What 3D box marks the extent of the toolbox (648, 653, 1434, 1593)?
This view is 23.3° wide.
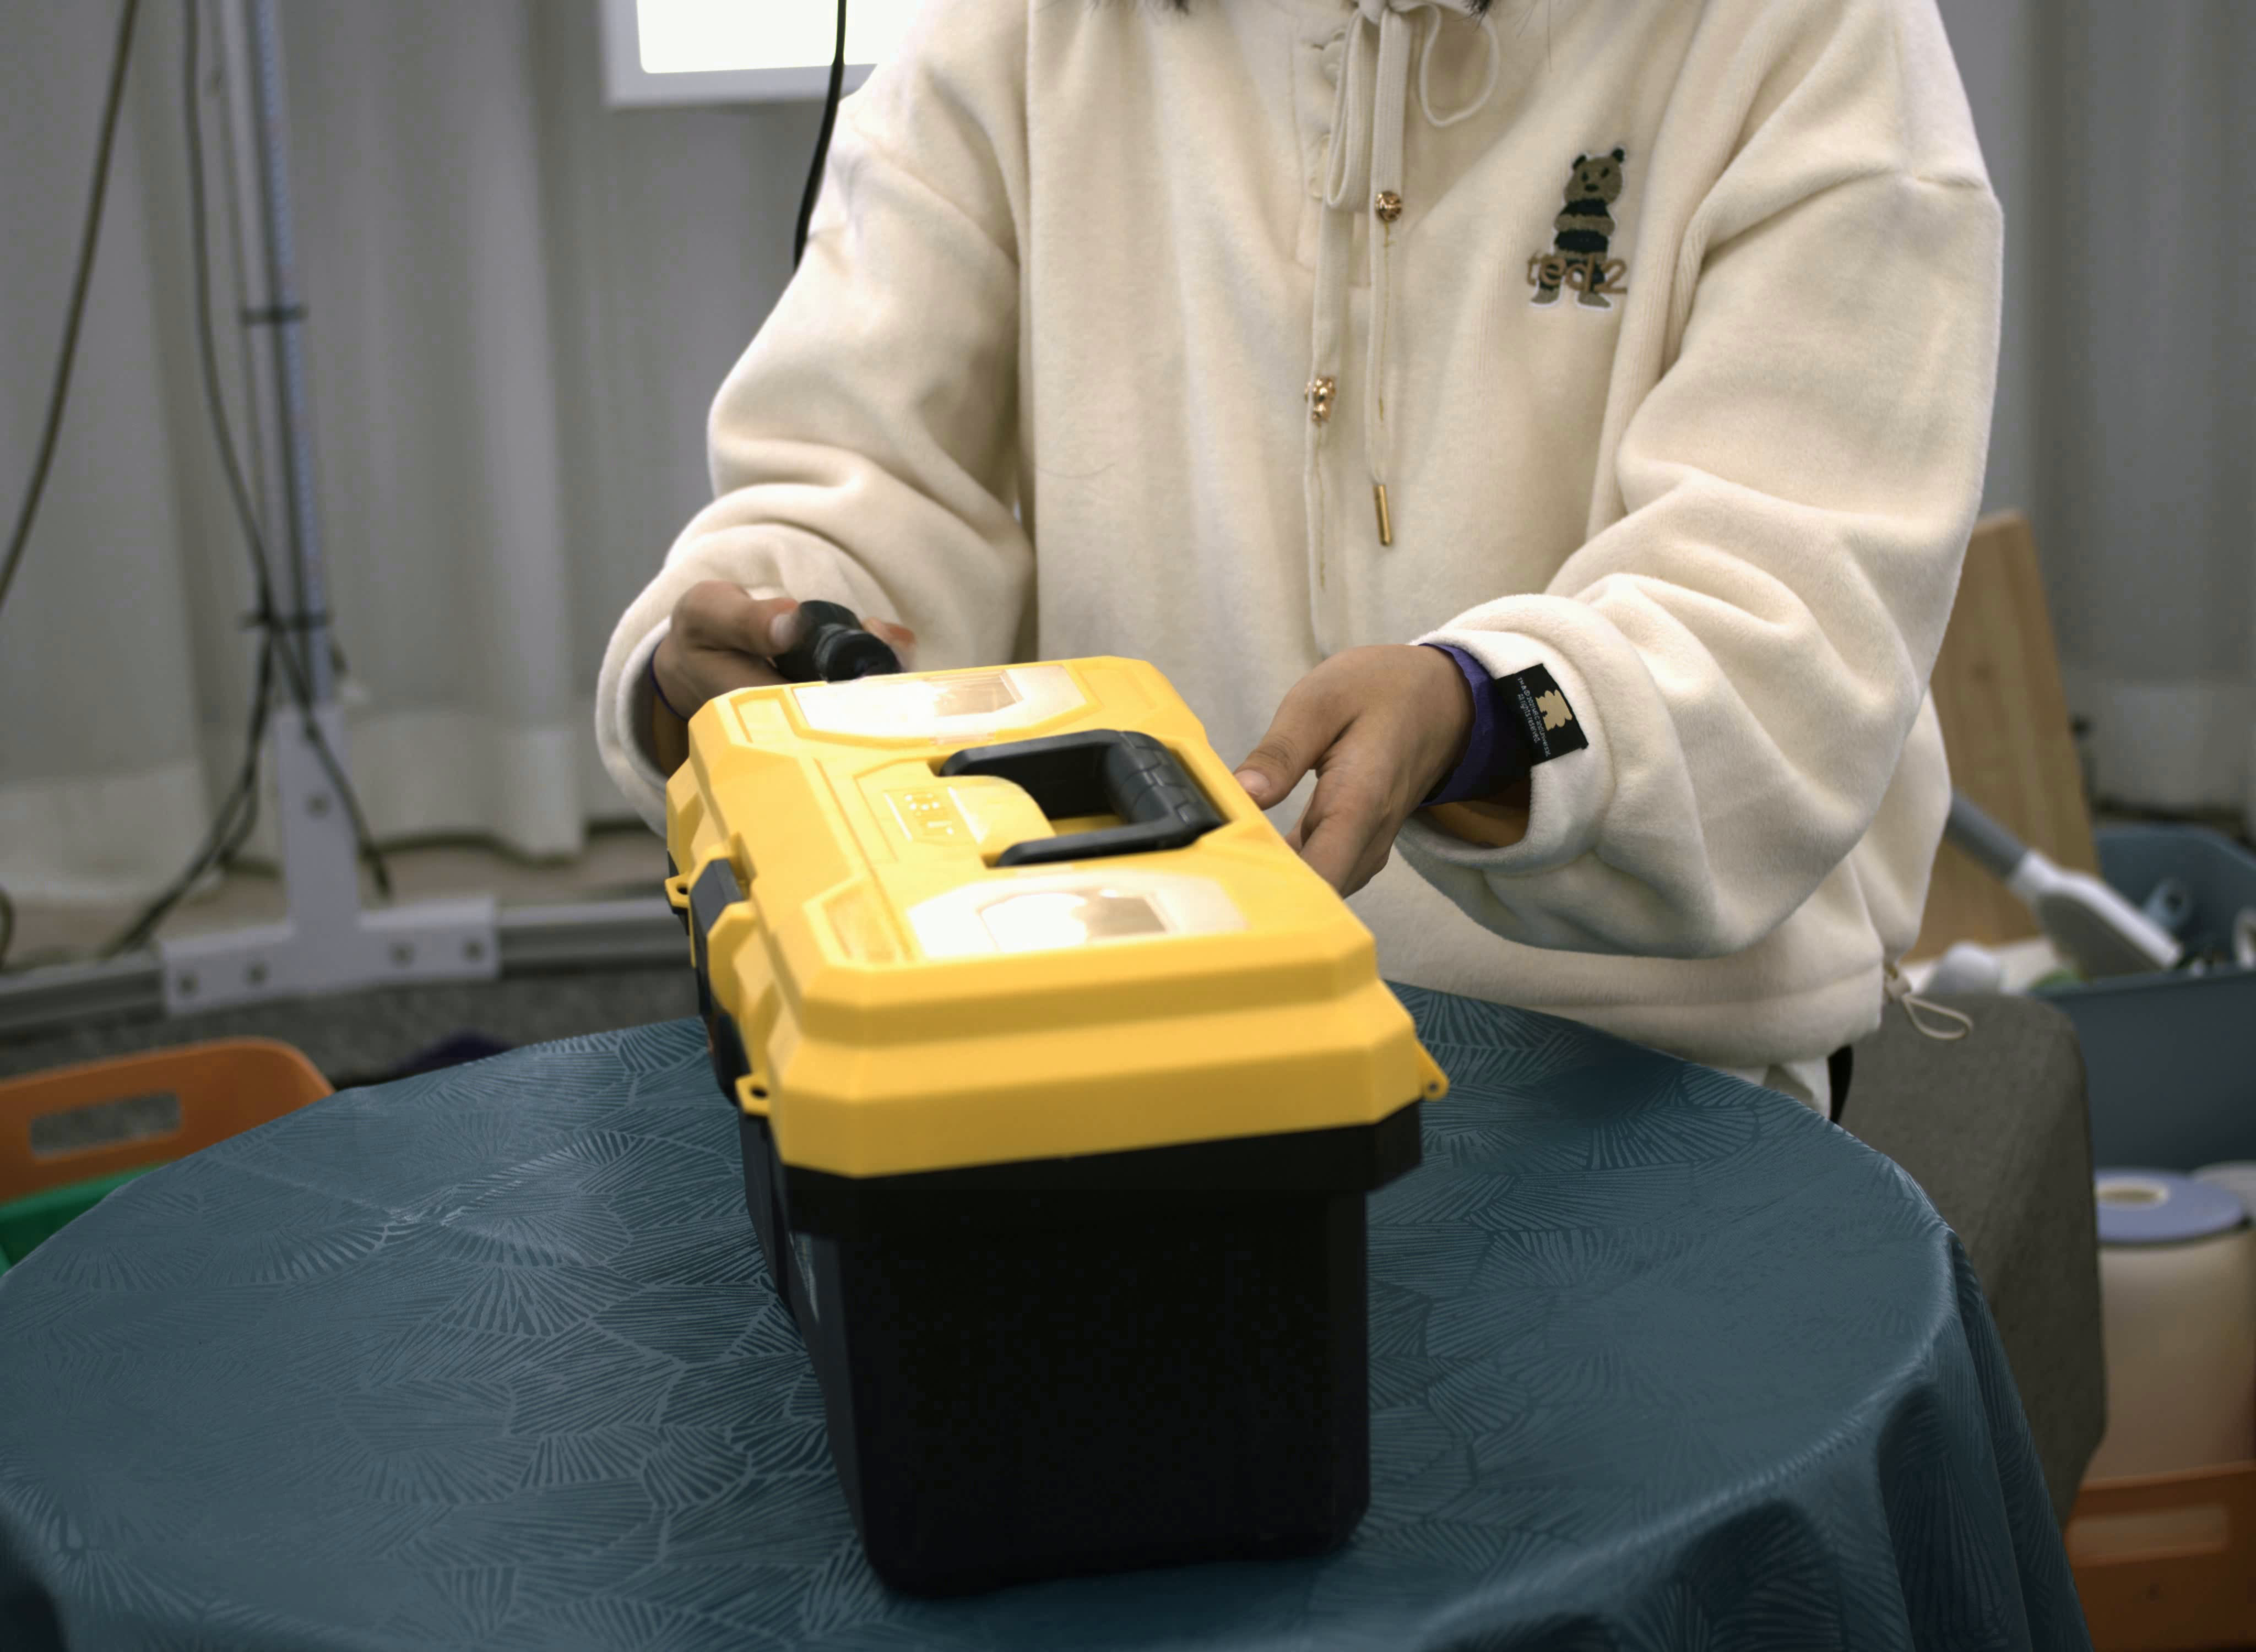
[{"bbox_3d":[-0.031,0.074,1.539,0.180,0.172,0.354,-5,15,-8],"label":"toolbox"}]

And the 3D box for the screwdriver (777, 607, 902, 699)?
[{"bbox_3d":[-0.083,-0.045,1.777,0.031,0.031,0.197,-6,13,-15],"label":"screwdriver"}]
